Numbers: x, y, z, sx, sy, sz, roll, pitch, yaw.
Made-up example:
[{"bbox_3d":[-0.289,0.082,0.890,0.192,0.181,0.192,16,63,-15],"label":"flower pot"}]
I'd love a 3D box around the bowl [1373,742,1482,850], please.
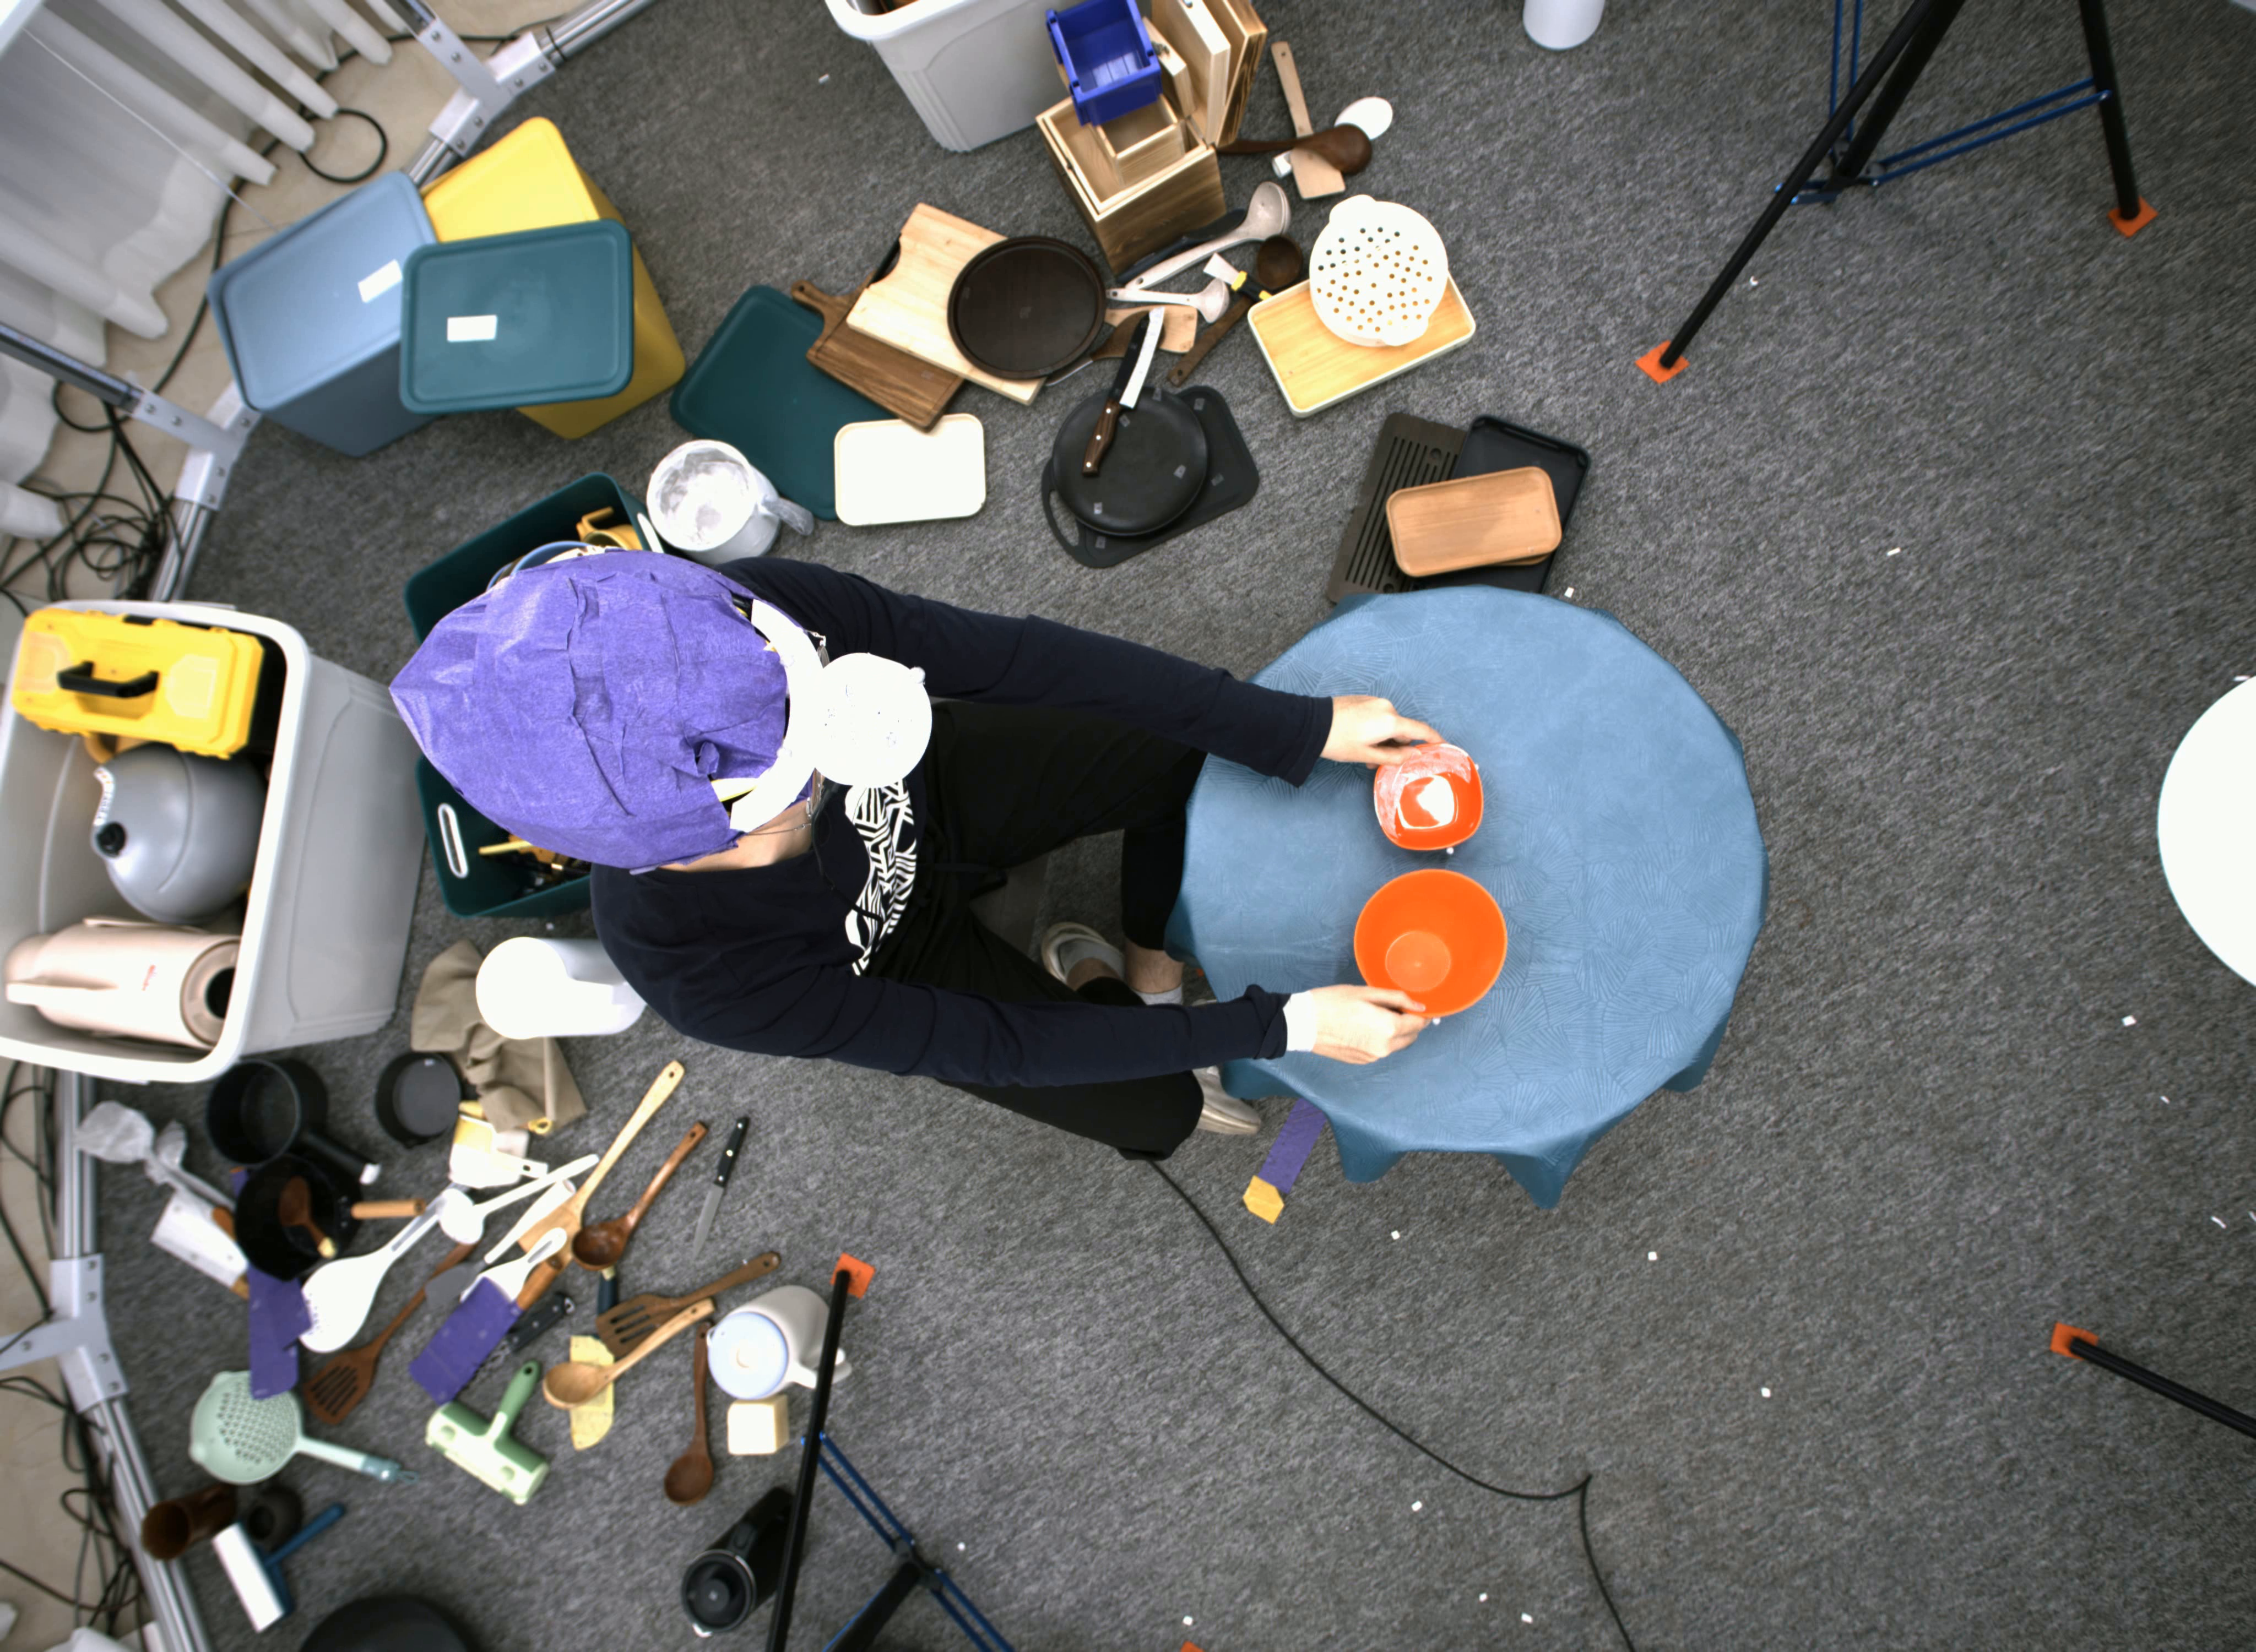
[{"bbox_3d":[0.311,-0.030,1.433,0.119,0.051,0.118,-1,88,11],"label":"bowl"}]

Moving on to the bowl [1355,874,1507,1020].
[{"bbox_3d":[0.305,0.128,1.395,0.149,0.105,0.146,-3,75,12],"label":"bowl"}]
